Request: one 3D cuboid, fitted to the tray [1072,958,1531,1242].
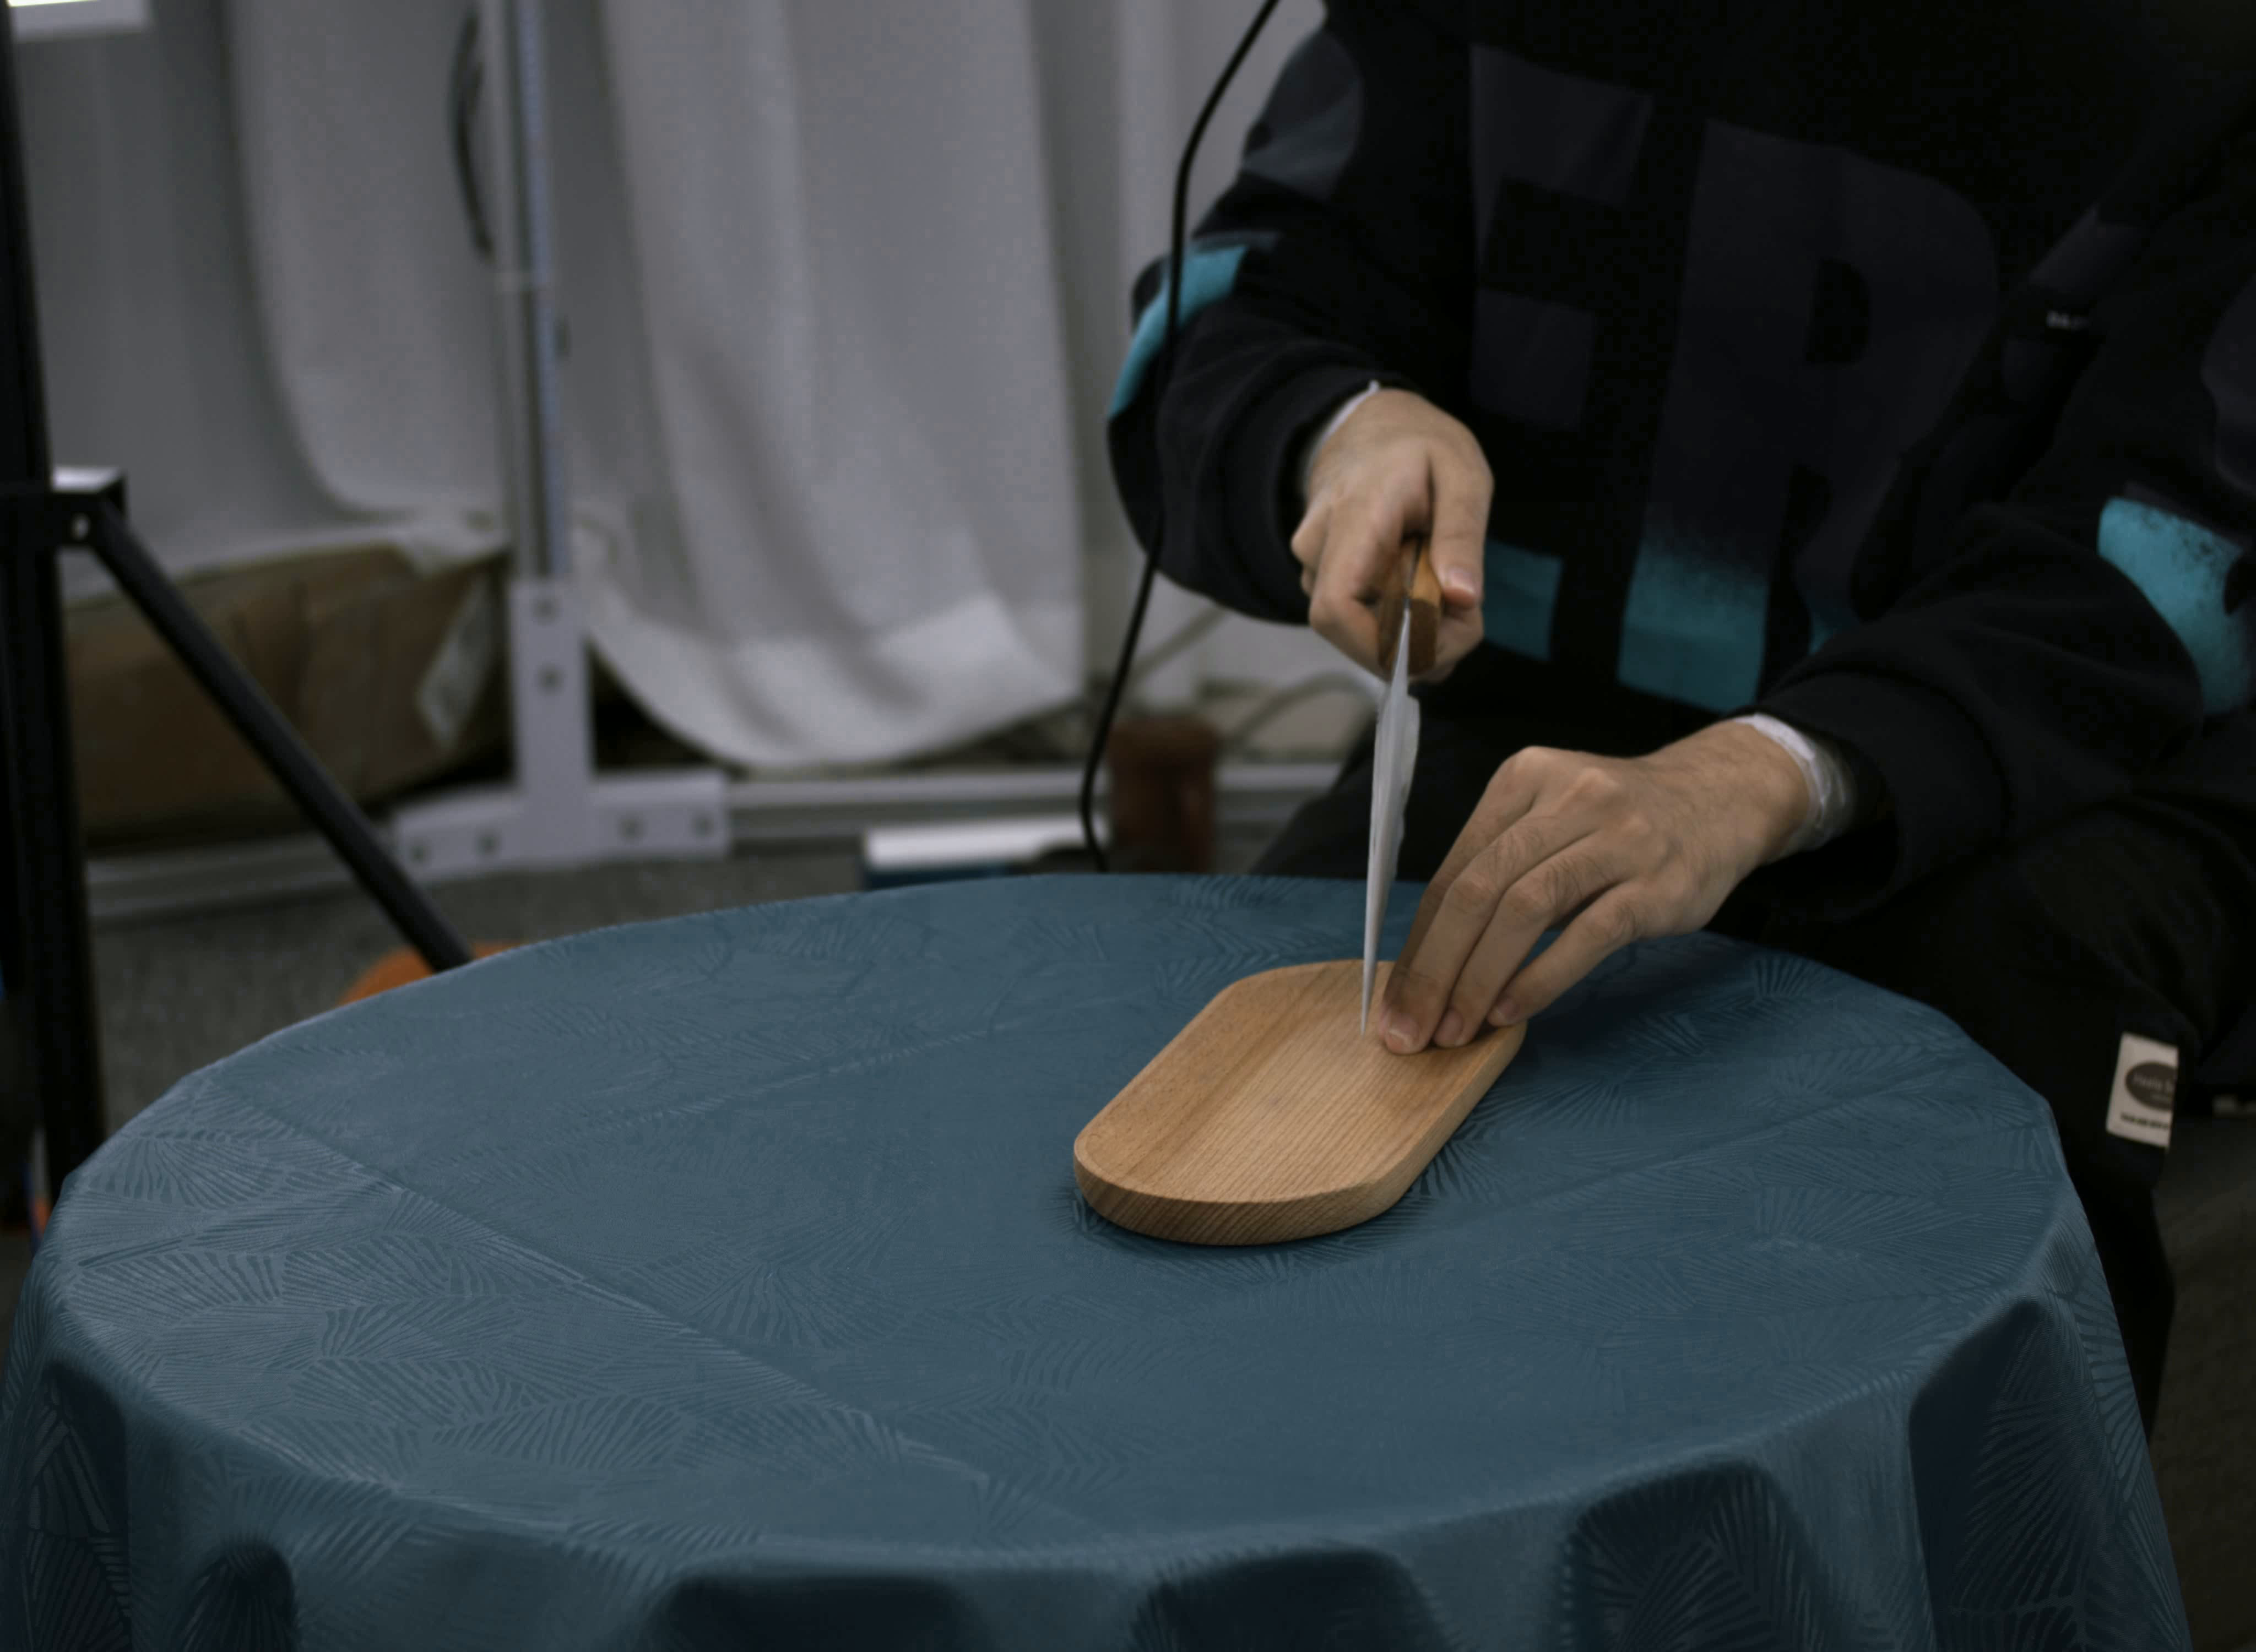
[{"bbox_3d":[0.055,0.081,1.612,0.103,0.020,0.228,5,16,19],"label":"tray"}]

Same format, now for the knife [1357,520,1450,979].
[{"bbox_3d":[0.088,-0.026,1.743,0.021,0.093,0.305,3,18,5],"label":"knife"}]
